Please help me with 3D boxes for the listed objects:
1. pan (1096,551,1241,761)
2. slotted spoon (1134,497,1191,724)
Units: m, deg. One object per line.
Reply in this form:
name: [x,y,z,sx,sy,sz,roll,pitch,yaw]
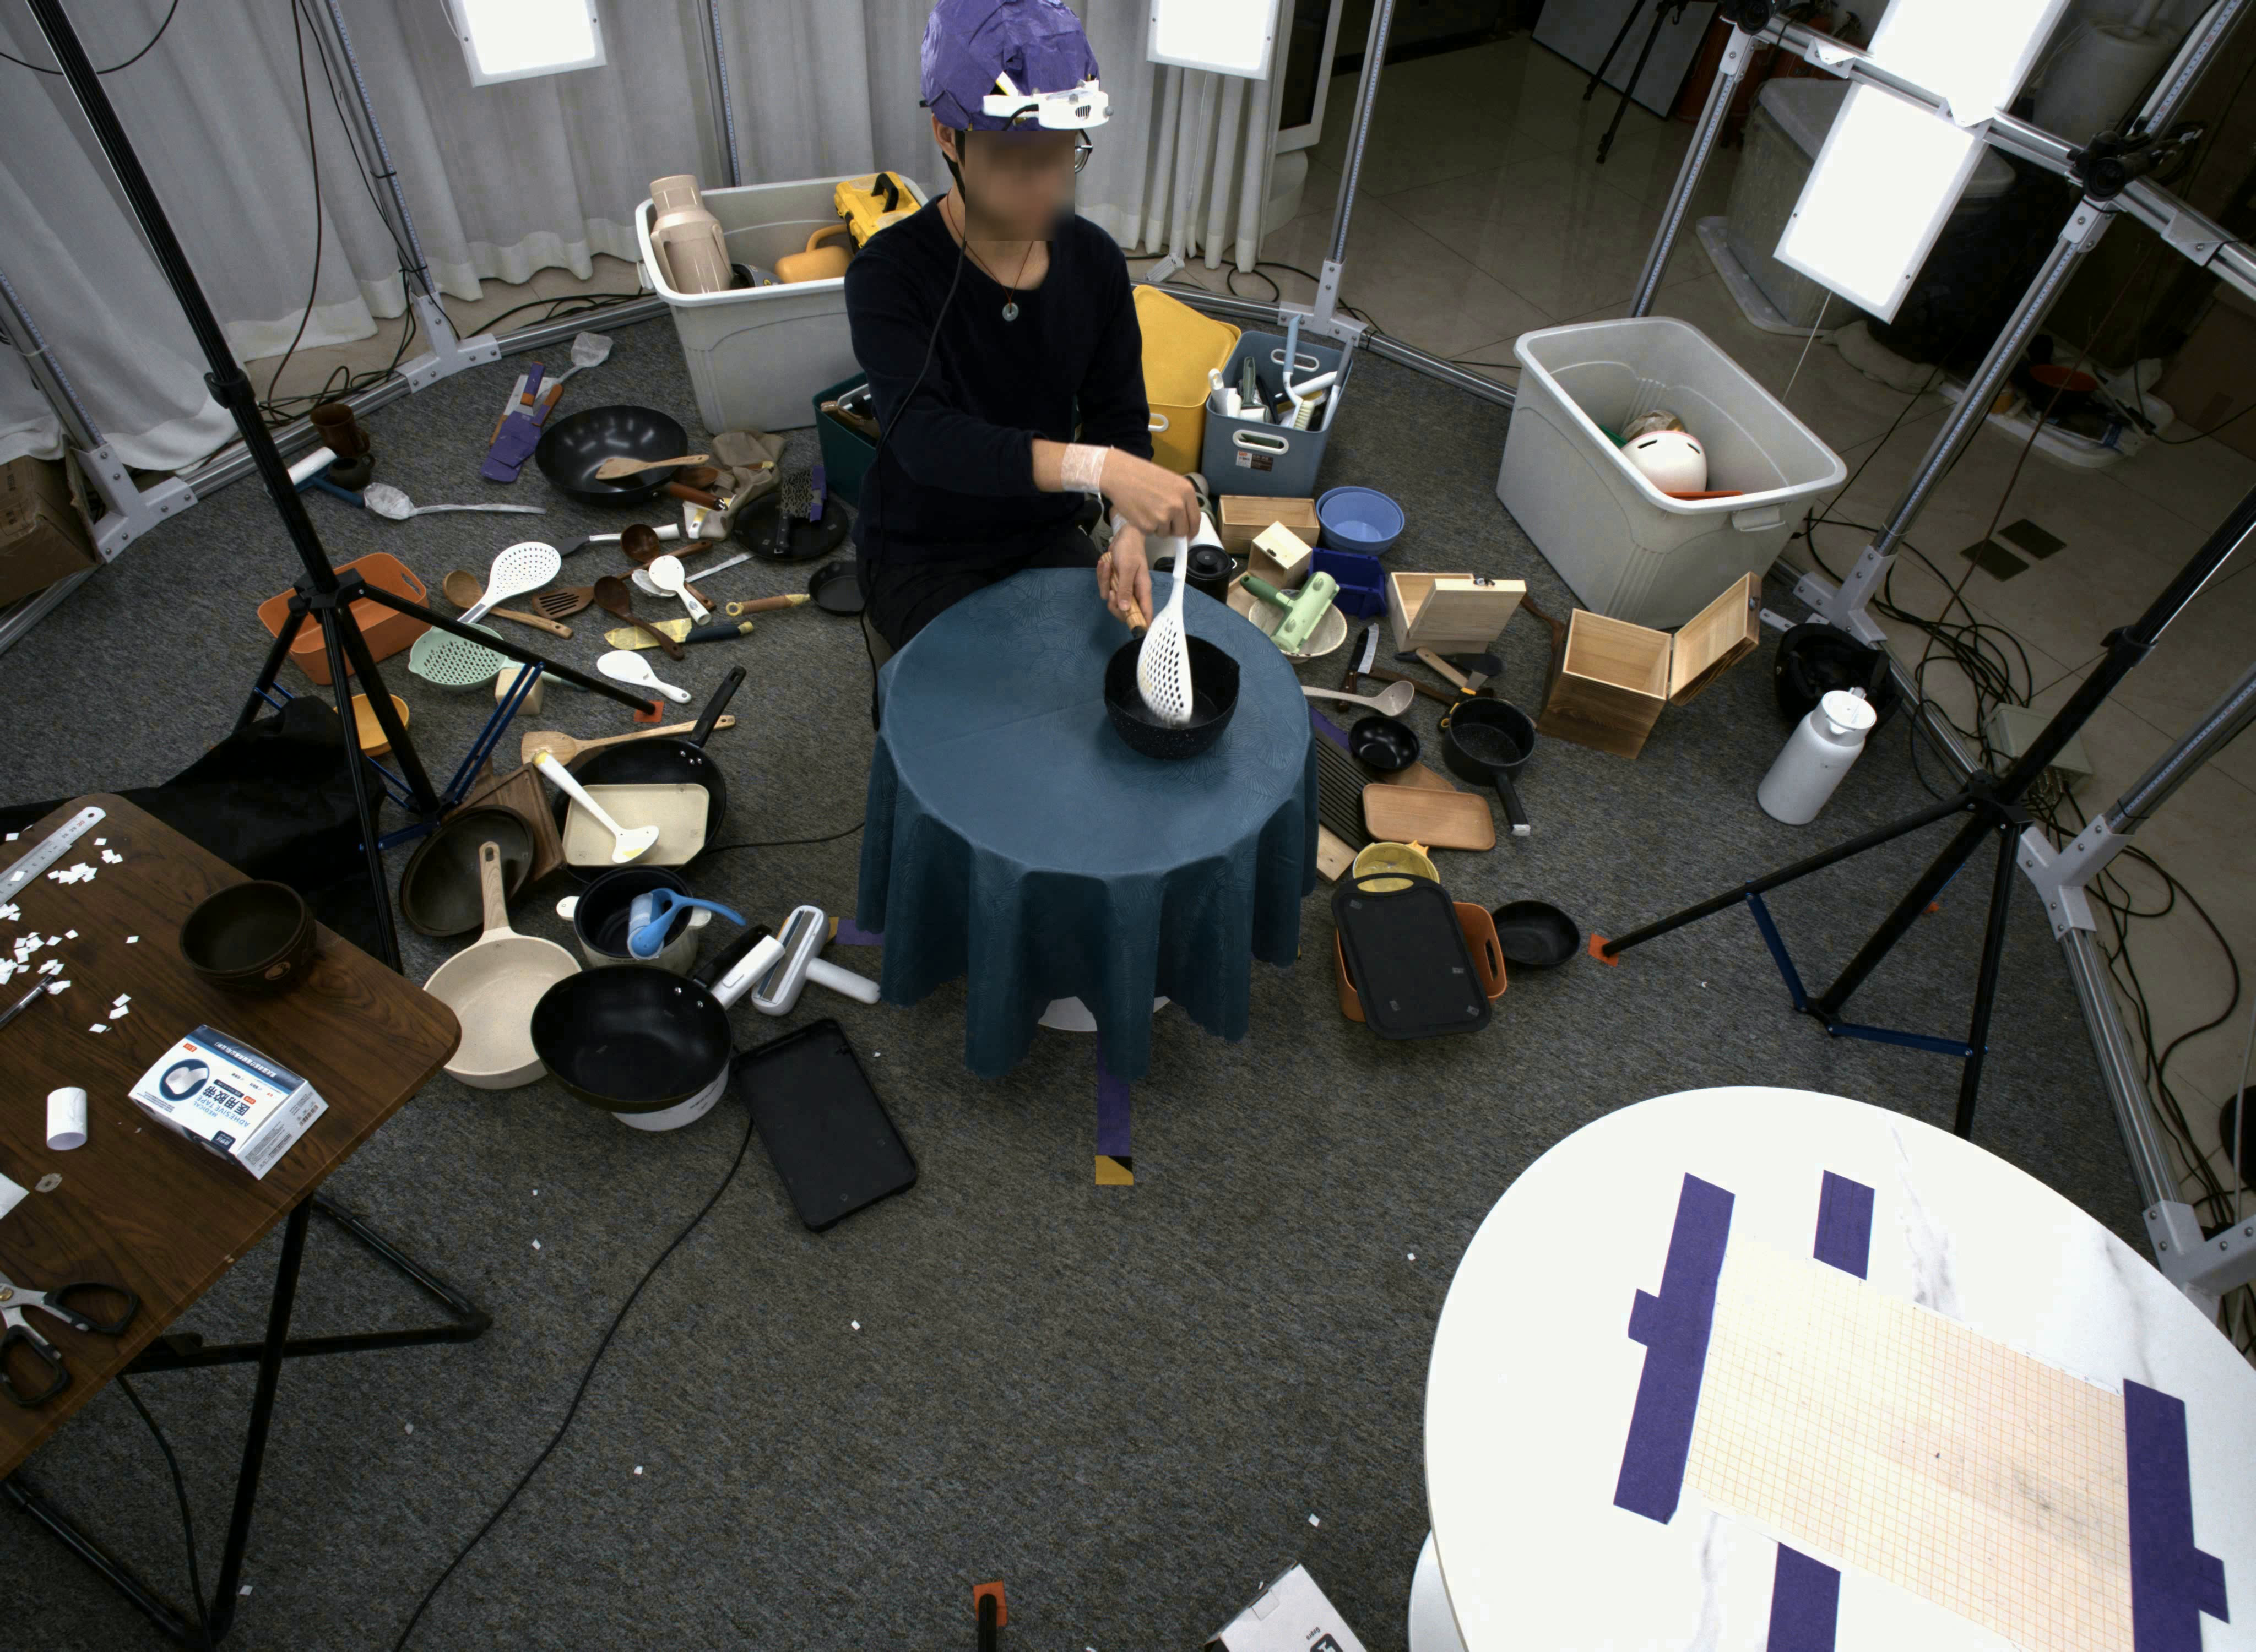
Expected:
pan: [0.028,-0.240,1.805,0.207,0.105,0.350,-16,55,-15]
slotted spoon: [0.050,-0.271,1.652,0.050,0.340,0.140,-12,45,-25]
